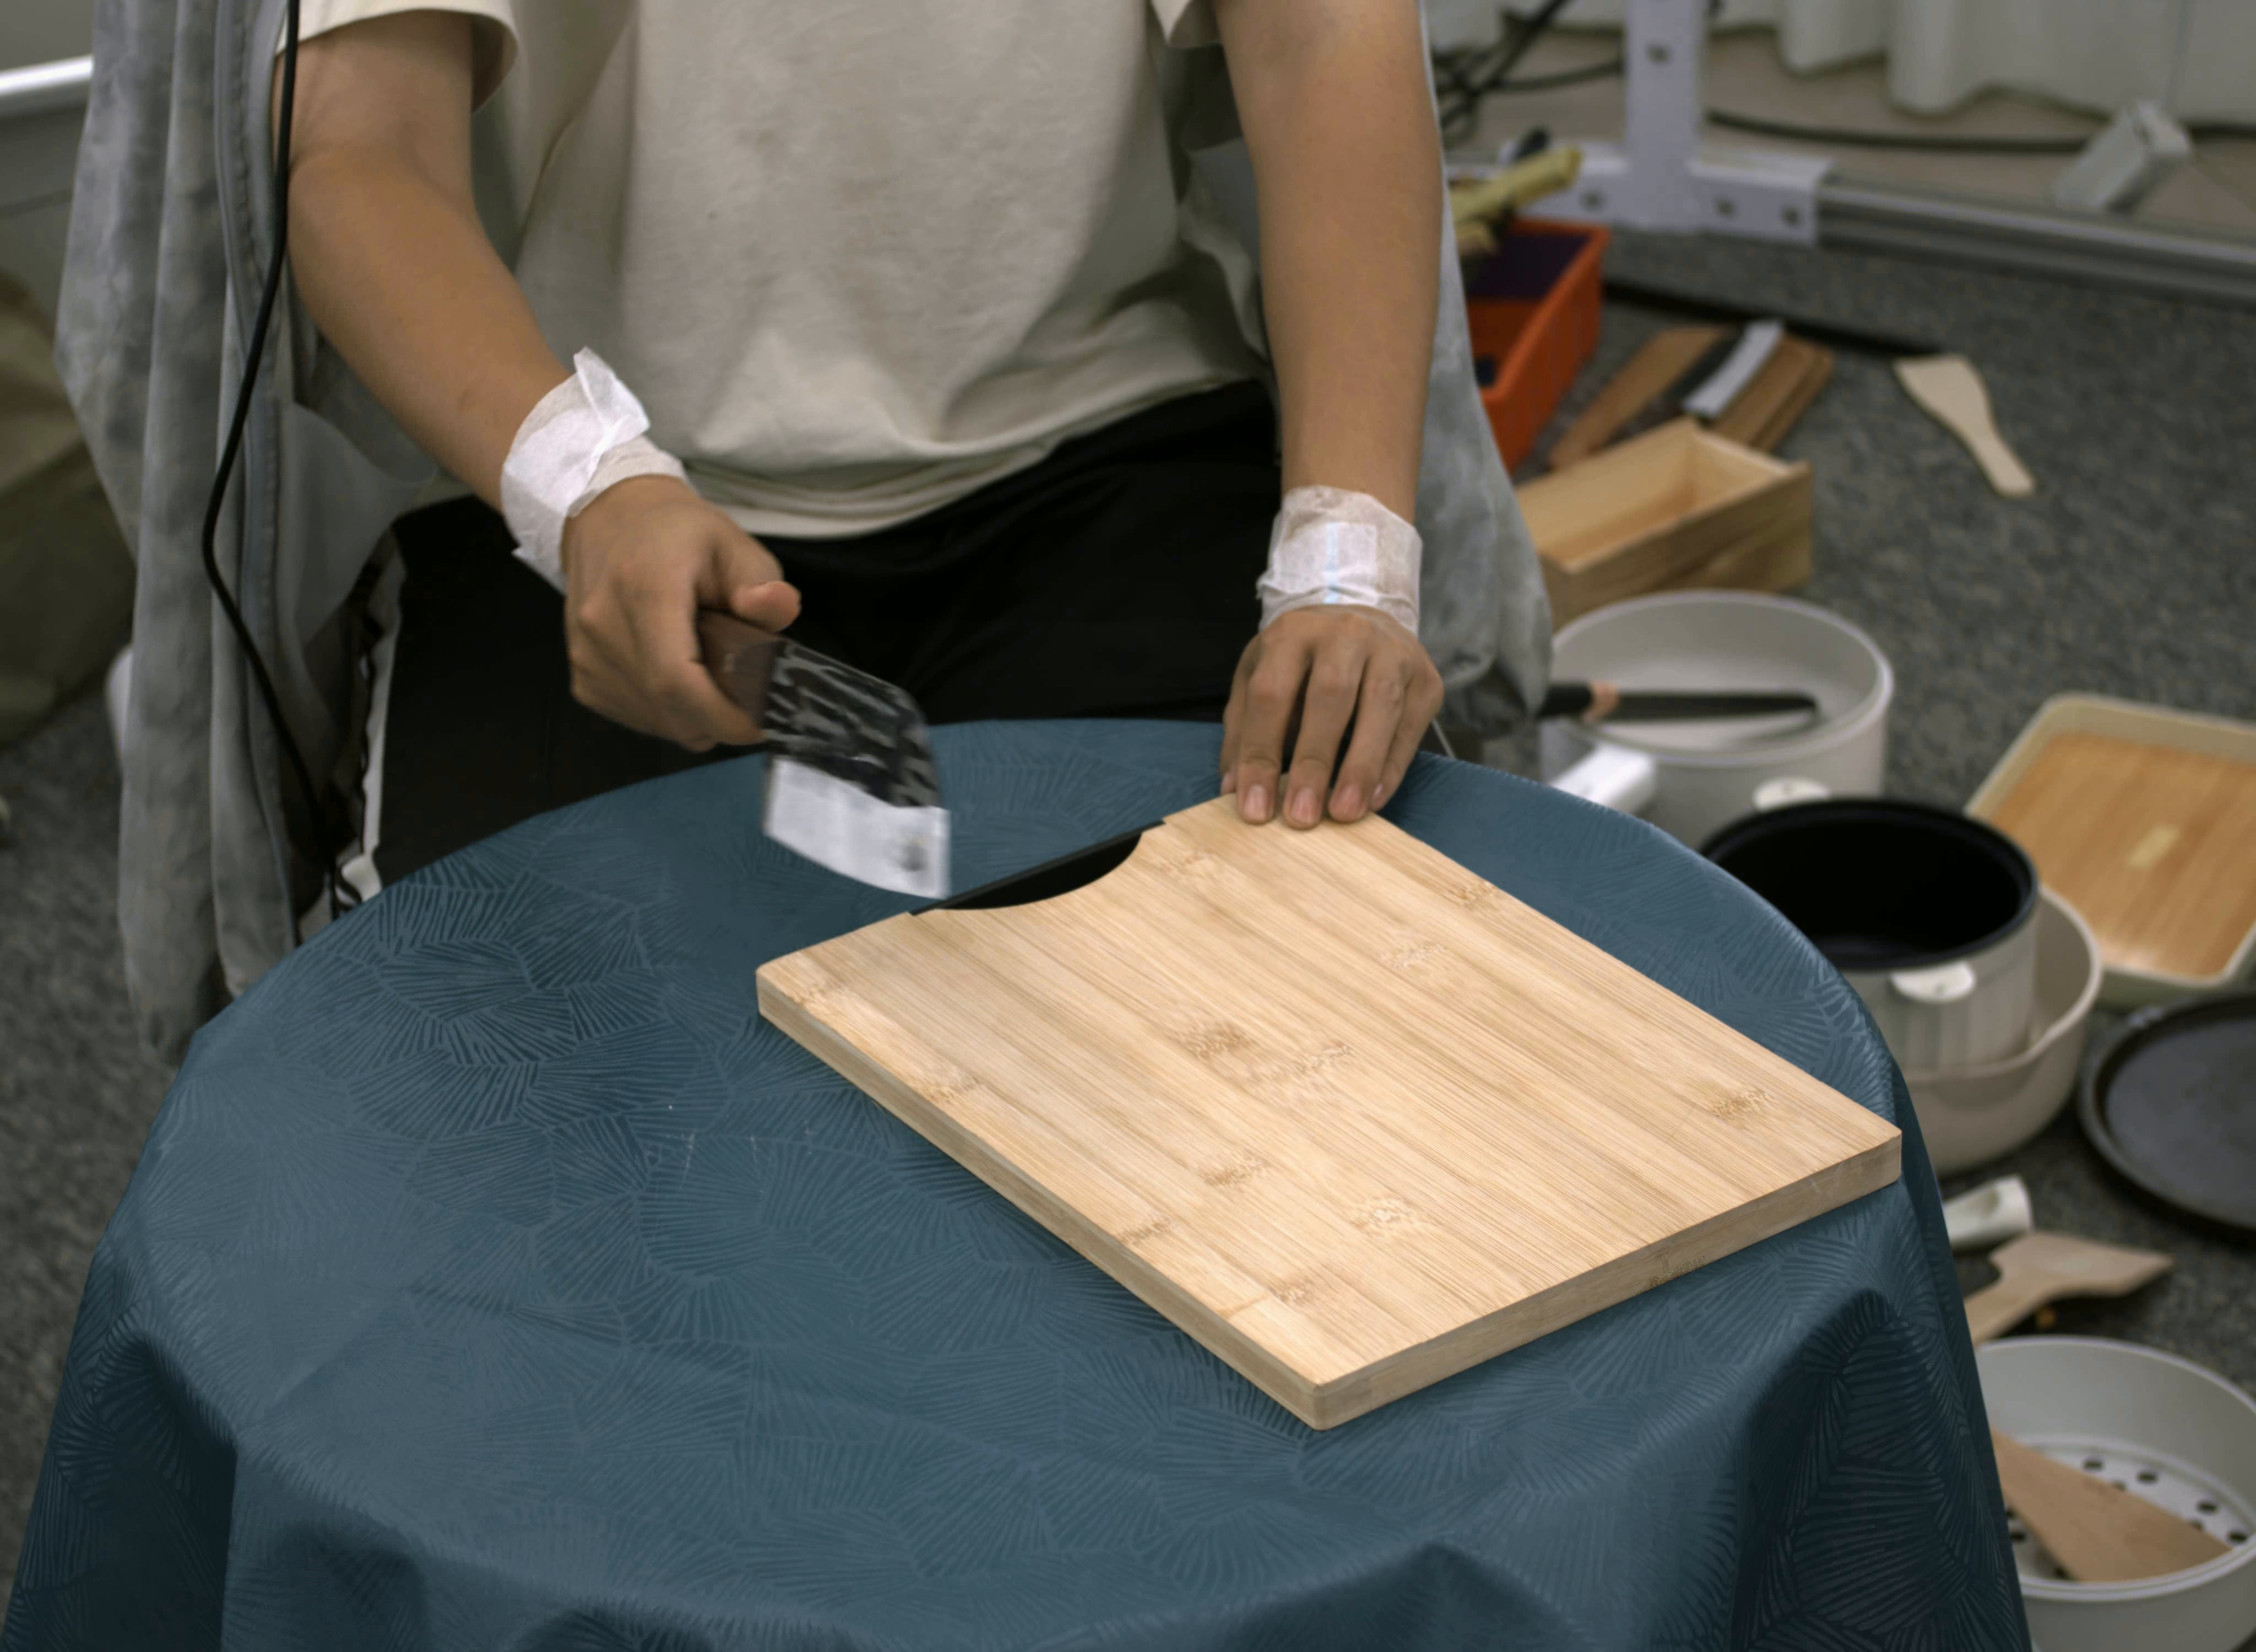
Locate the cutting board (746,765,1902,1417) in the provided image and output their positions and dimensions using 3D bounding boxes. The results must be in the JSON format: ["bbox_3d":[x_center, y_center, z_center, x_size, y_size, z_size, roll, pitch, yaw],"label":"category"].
[{"bbox_3d":[0.059,0.082,1.914,0.253,0.023,0.349,-20,31,-30],"label":"cutting board"}]

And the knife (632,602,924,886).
[{"bbox_3d":[-0.117,-0.029,1.891,0.024,0.068,0.299,8,6,-23],"label":"knife"}]
